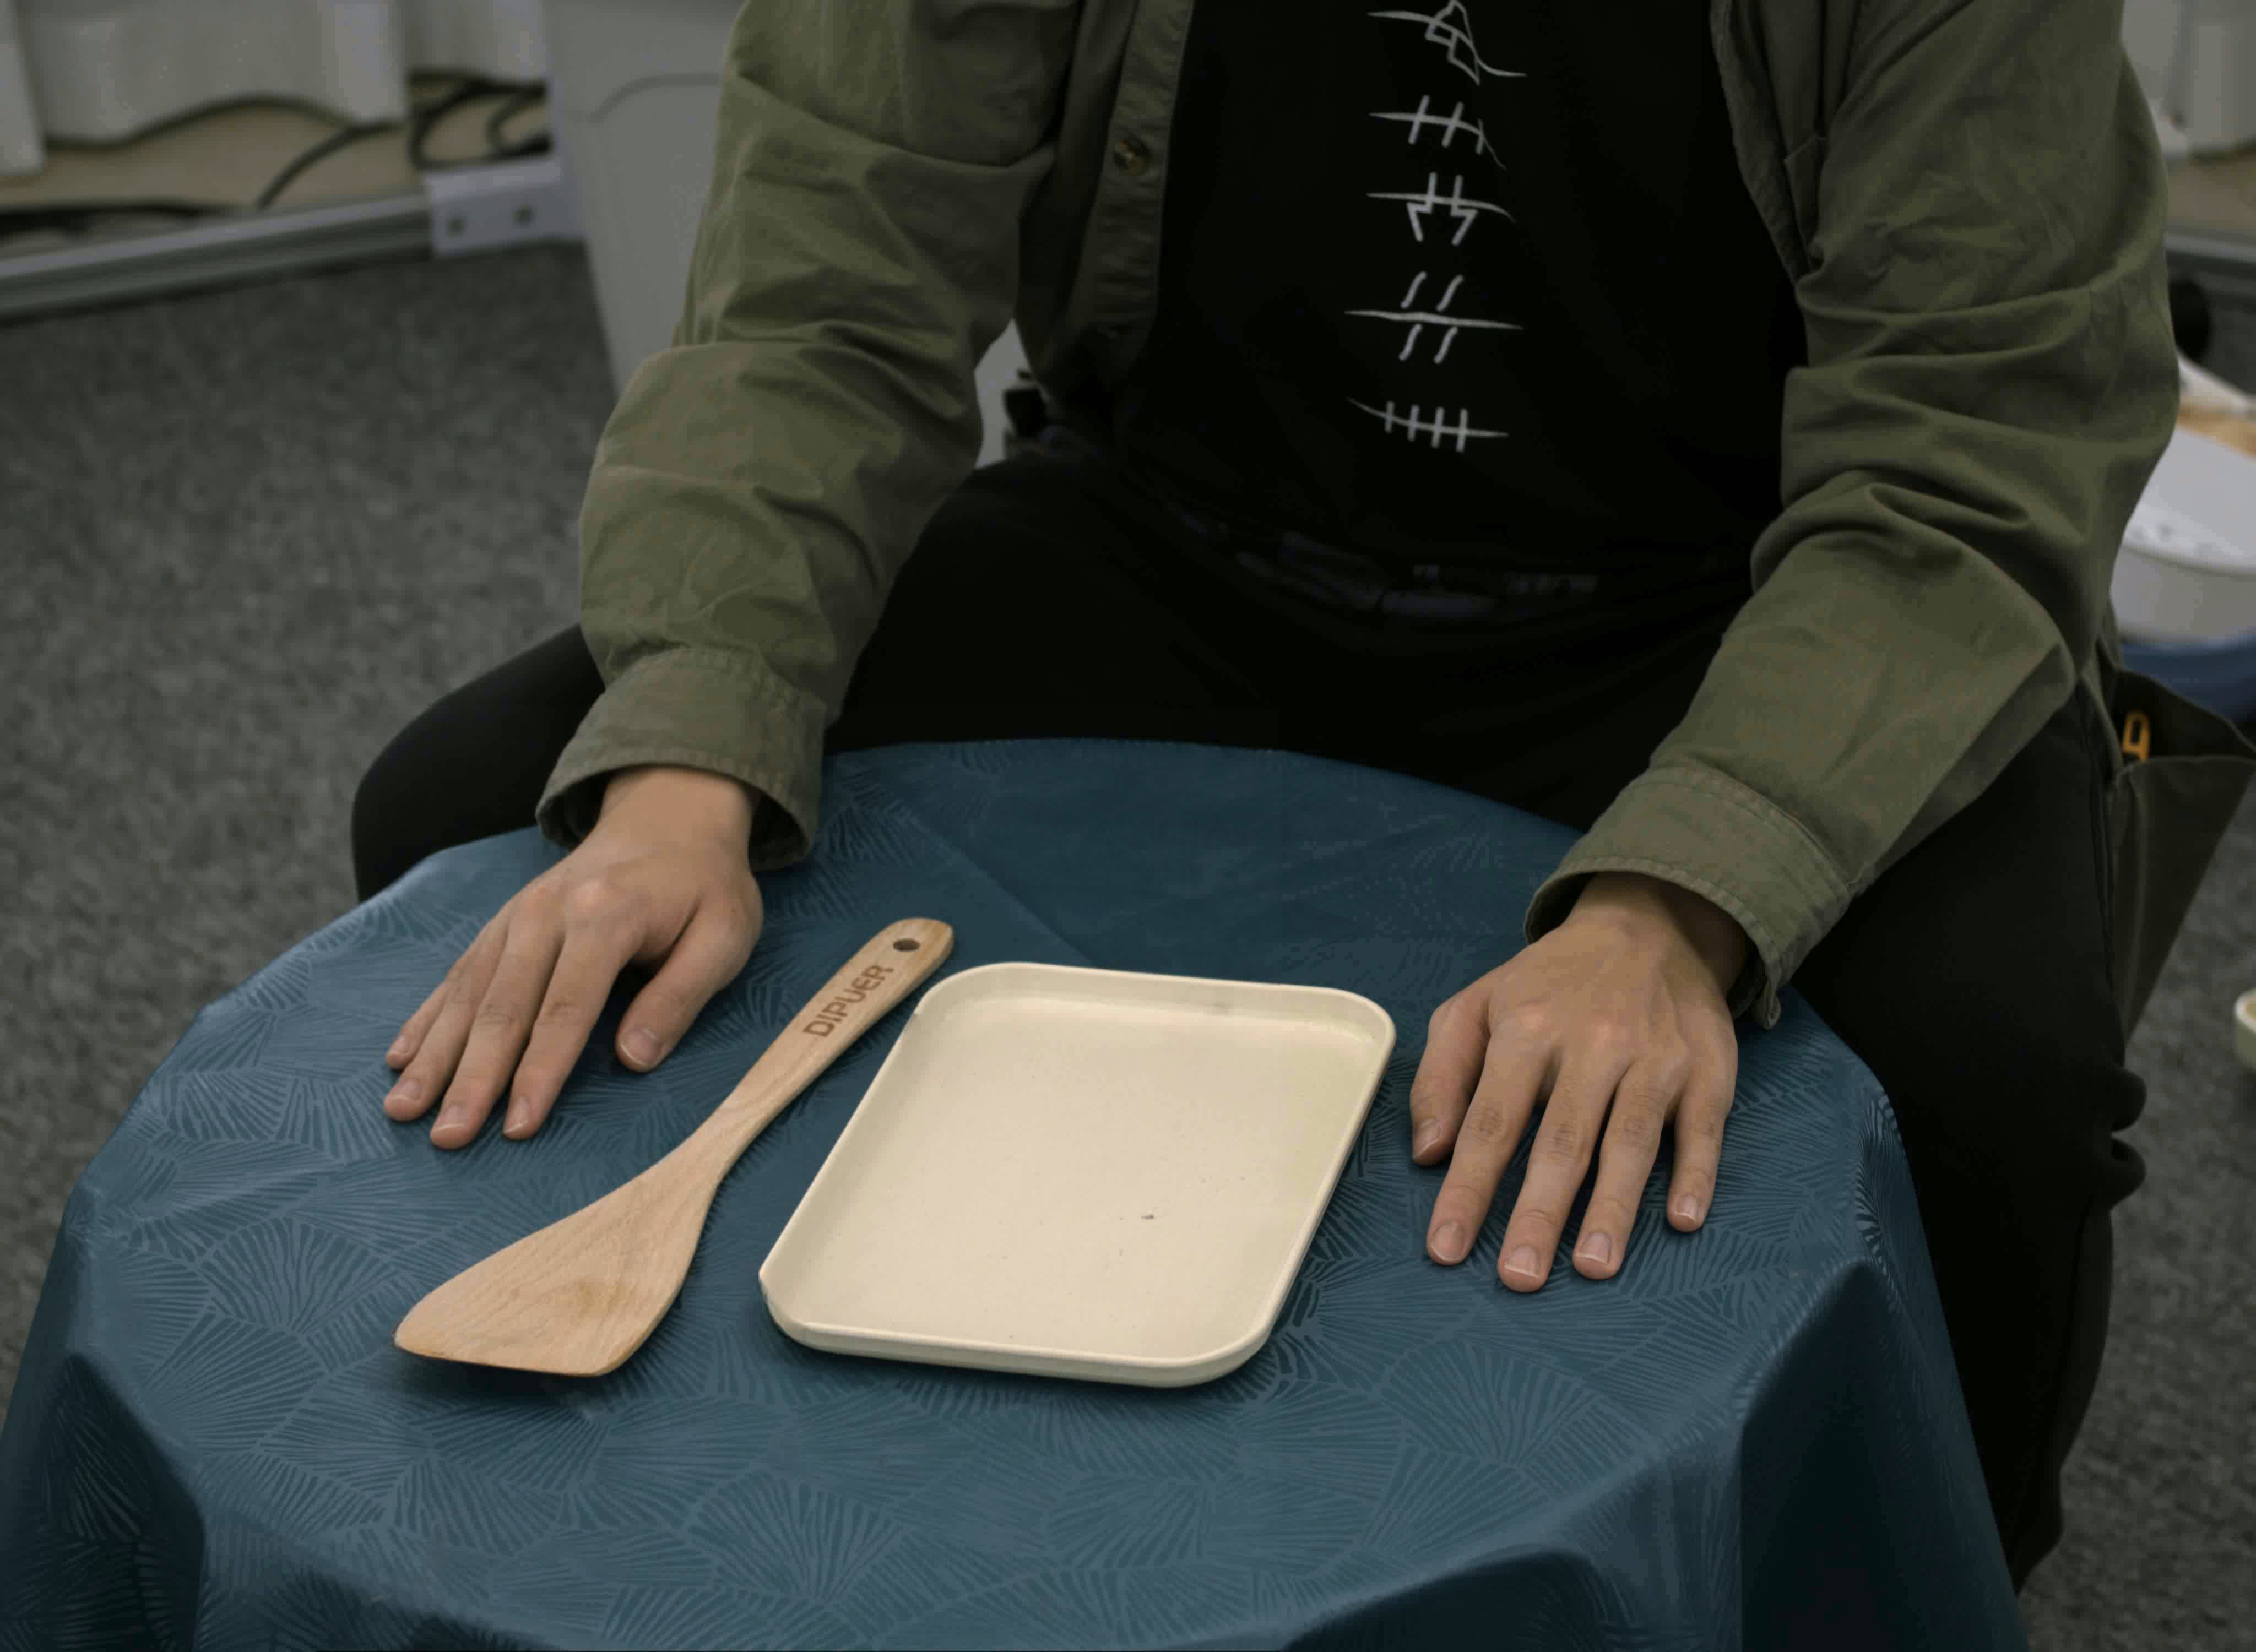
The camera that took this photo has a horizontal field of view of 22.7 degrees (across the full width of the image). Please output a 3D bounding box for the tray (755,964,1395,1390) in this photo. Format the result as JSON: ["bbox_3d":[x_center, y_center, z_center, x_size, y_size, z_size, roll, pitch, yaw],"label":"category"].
[{"bbox_3d":[-0.014,0.114,1.853,0.170,0.017,0.244,5,28,14],"label":"tray"}]

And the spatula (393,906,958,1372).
[{"bbox_3d":[-0.134,0.101,1.891,0.079,0.016,0.333,9,30,22],"label":"spatula"}]
